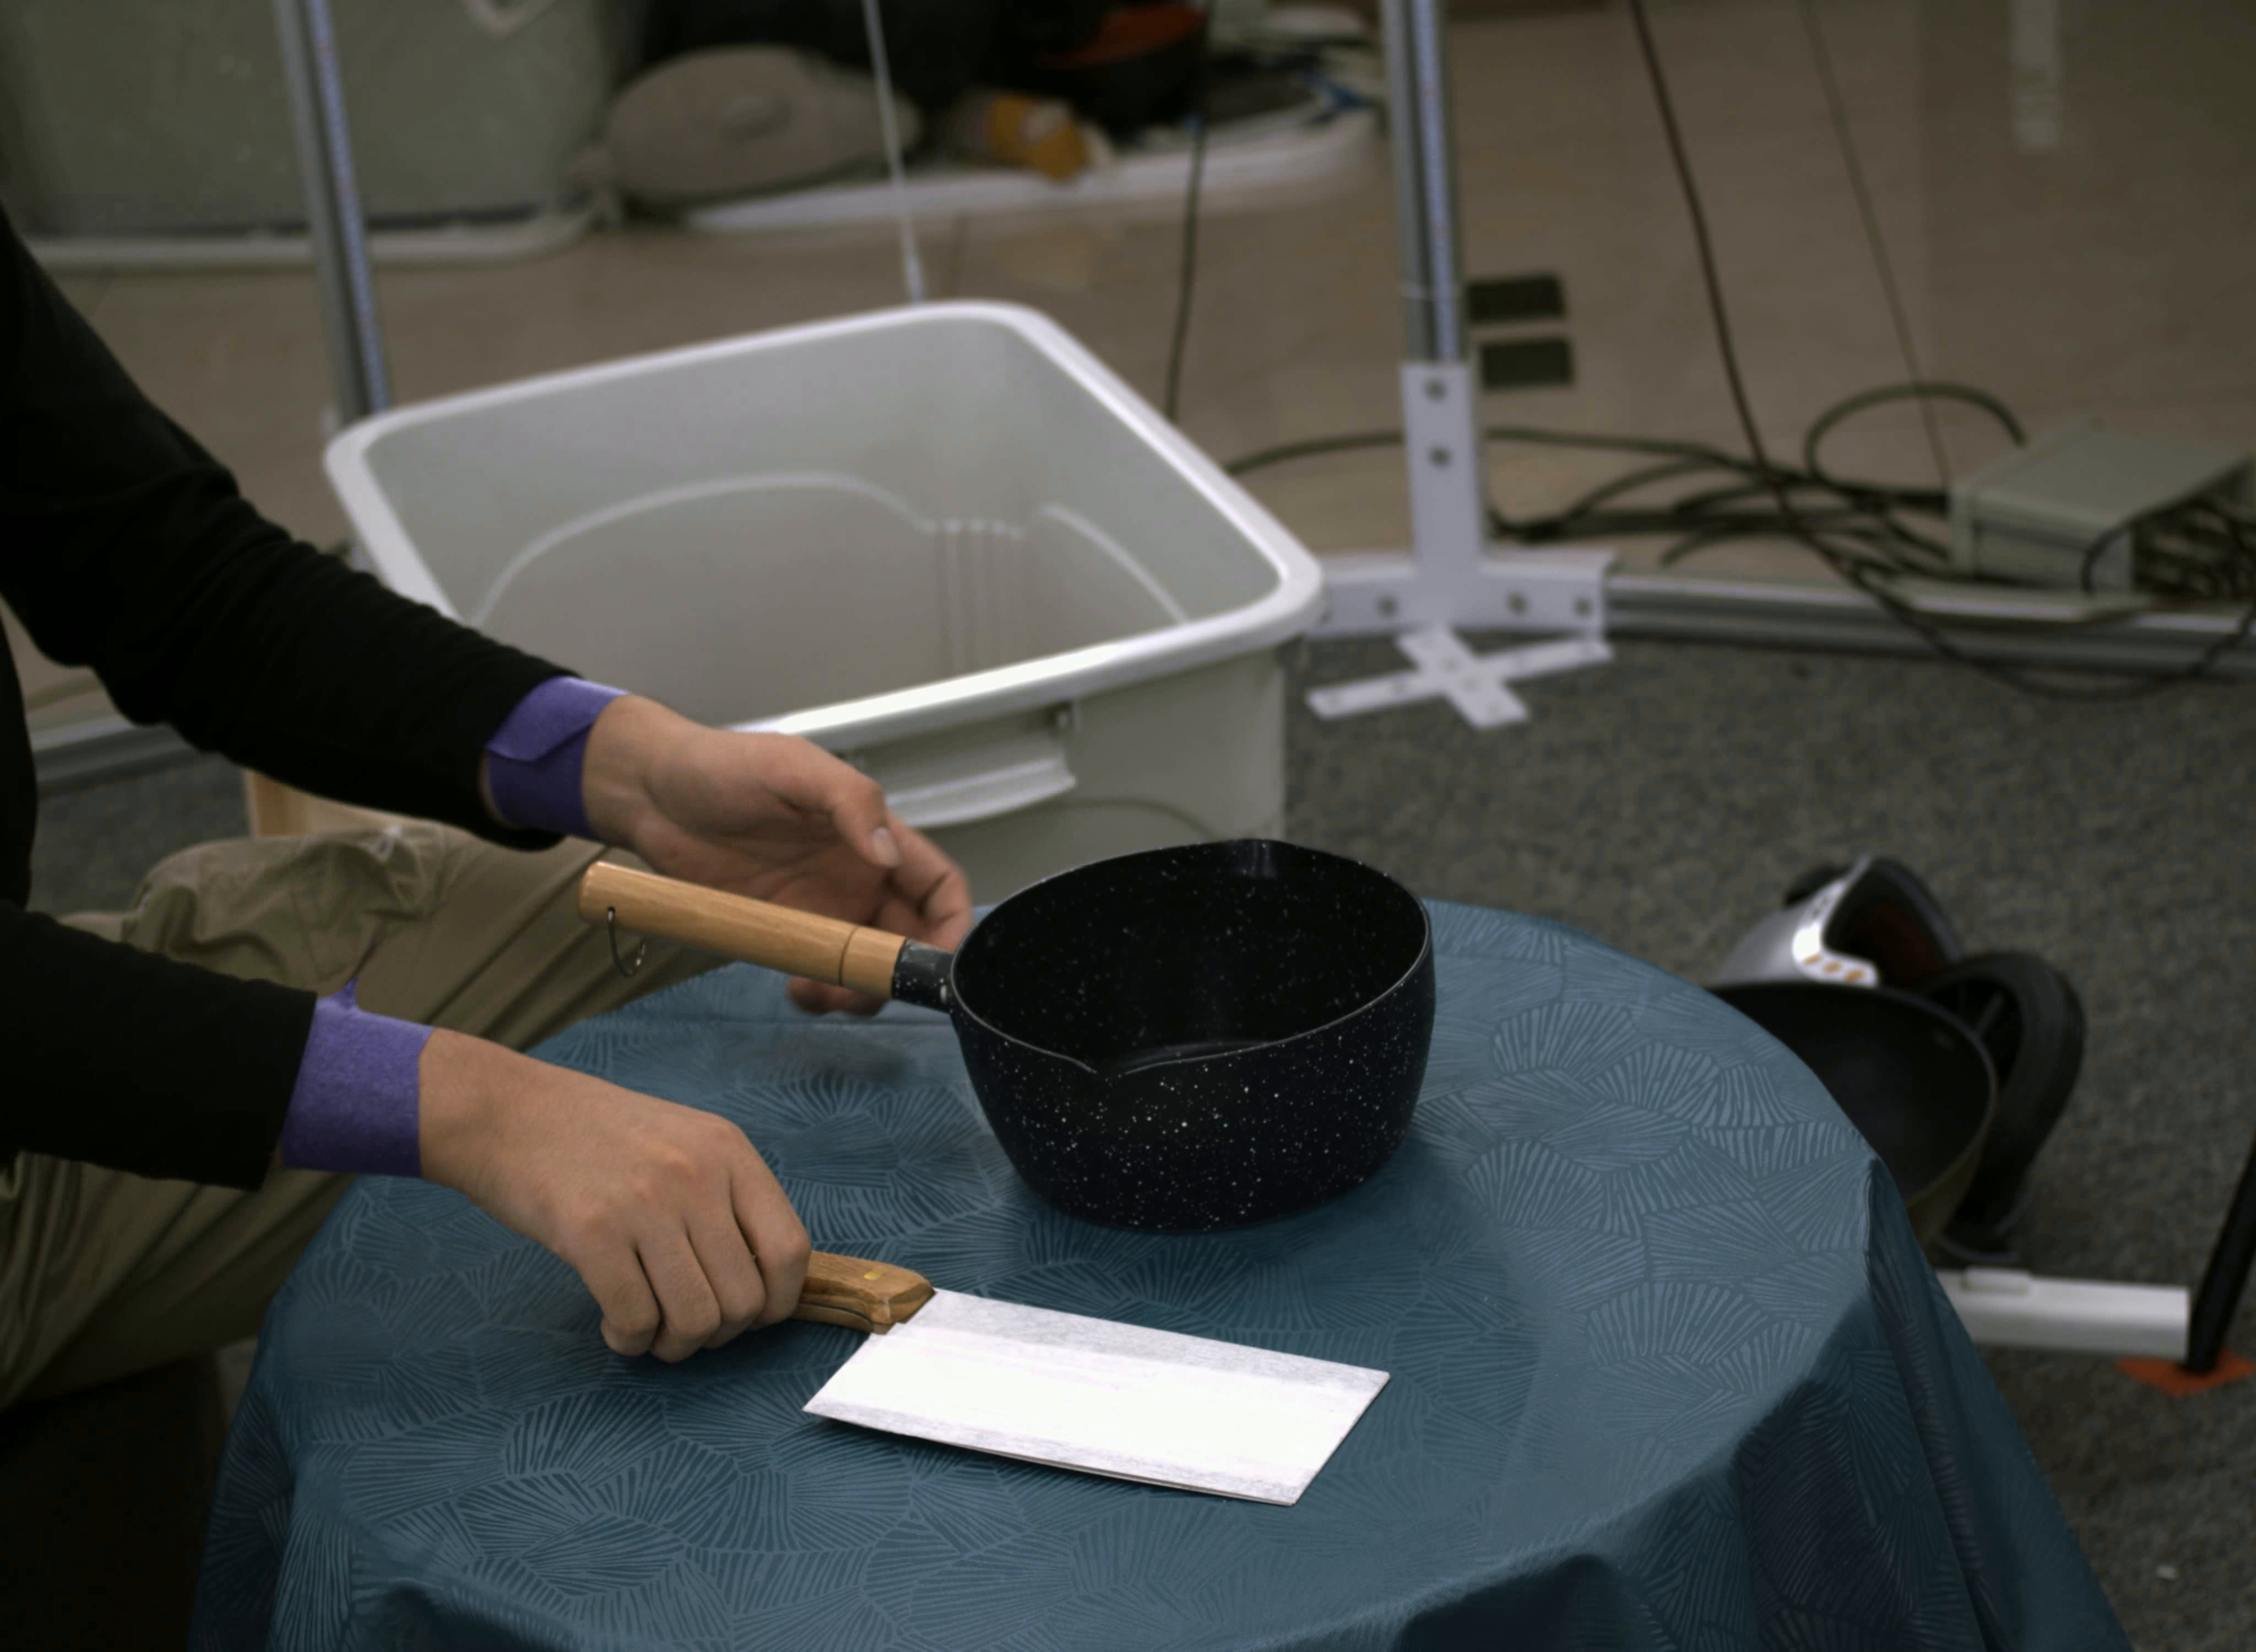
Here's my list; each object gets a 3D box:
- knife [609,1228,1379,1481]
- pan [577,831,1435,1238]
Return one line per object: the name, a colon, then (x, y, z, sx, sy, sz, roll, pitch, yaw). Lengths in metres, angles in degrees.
knife: (-0.062, 0.192, 2.033, 0.304, 0.021, 0.092, 8, 30, 24)
pan: (-0.050, 0.071, 2.180, 0.342, 0.110, 0.204, 3, 27, 17)
